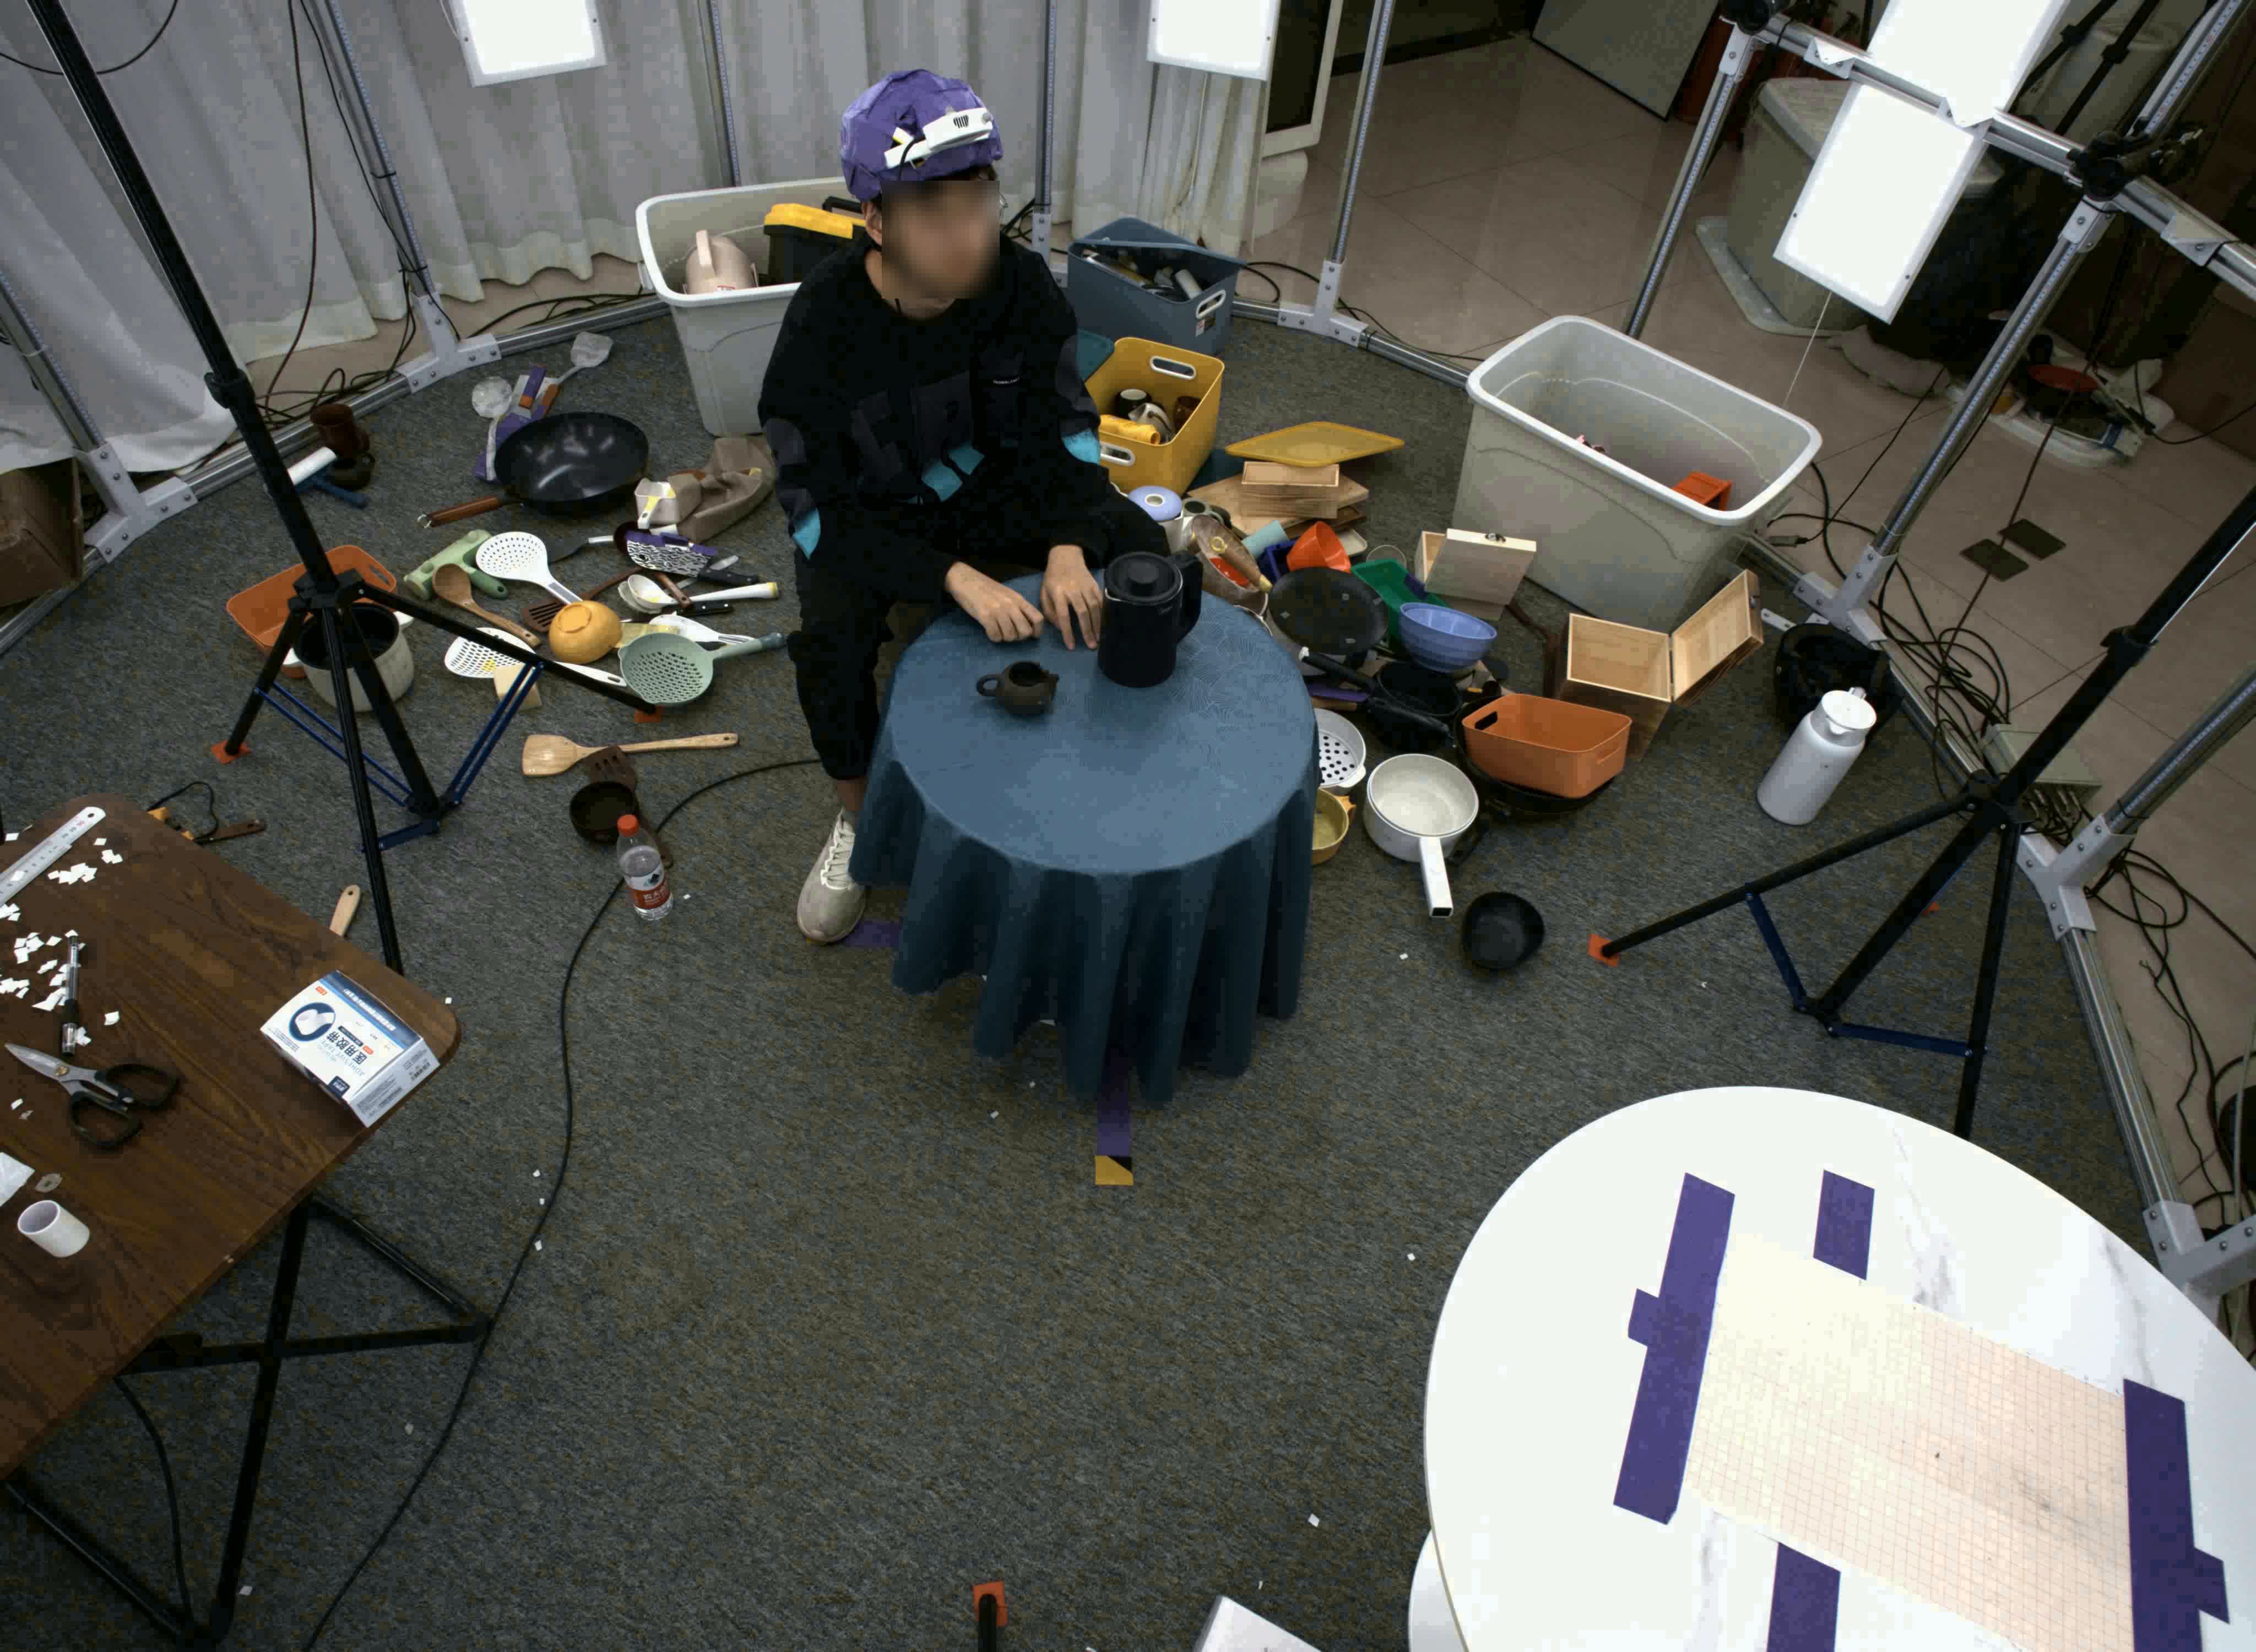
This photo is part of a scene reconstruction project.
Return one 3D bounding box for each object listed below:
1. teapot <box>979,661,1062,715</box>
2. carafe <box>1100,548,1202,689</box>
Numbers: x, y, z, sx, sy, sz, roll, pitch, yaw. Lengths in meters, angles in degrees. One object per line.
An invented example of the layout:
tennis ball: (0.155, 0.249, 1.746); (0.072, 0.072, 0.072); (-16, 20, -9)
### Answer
teapot: (-0.151, -0.196, 1.796); (0.114, 0.052, 0.085); (5, 48, -3)
carafe: (0.034, -0.306, 1.826); (0.173, 0.169, 0.116); (-34, 58, -25)
